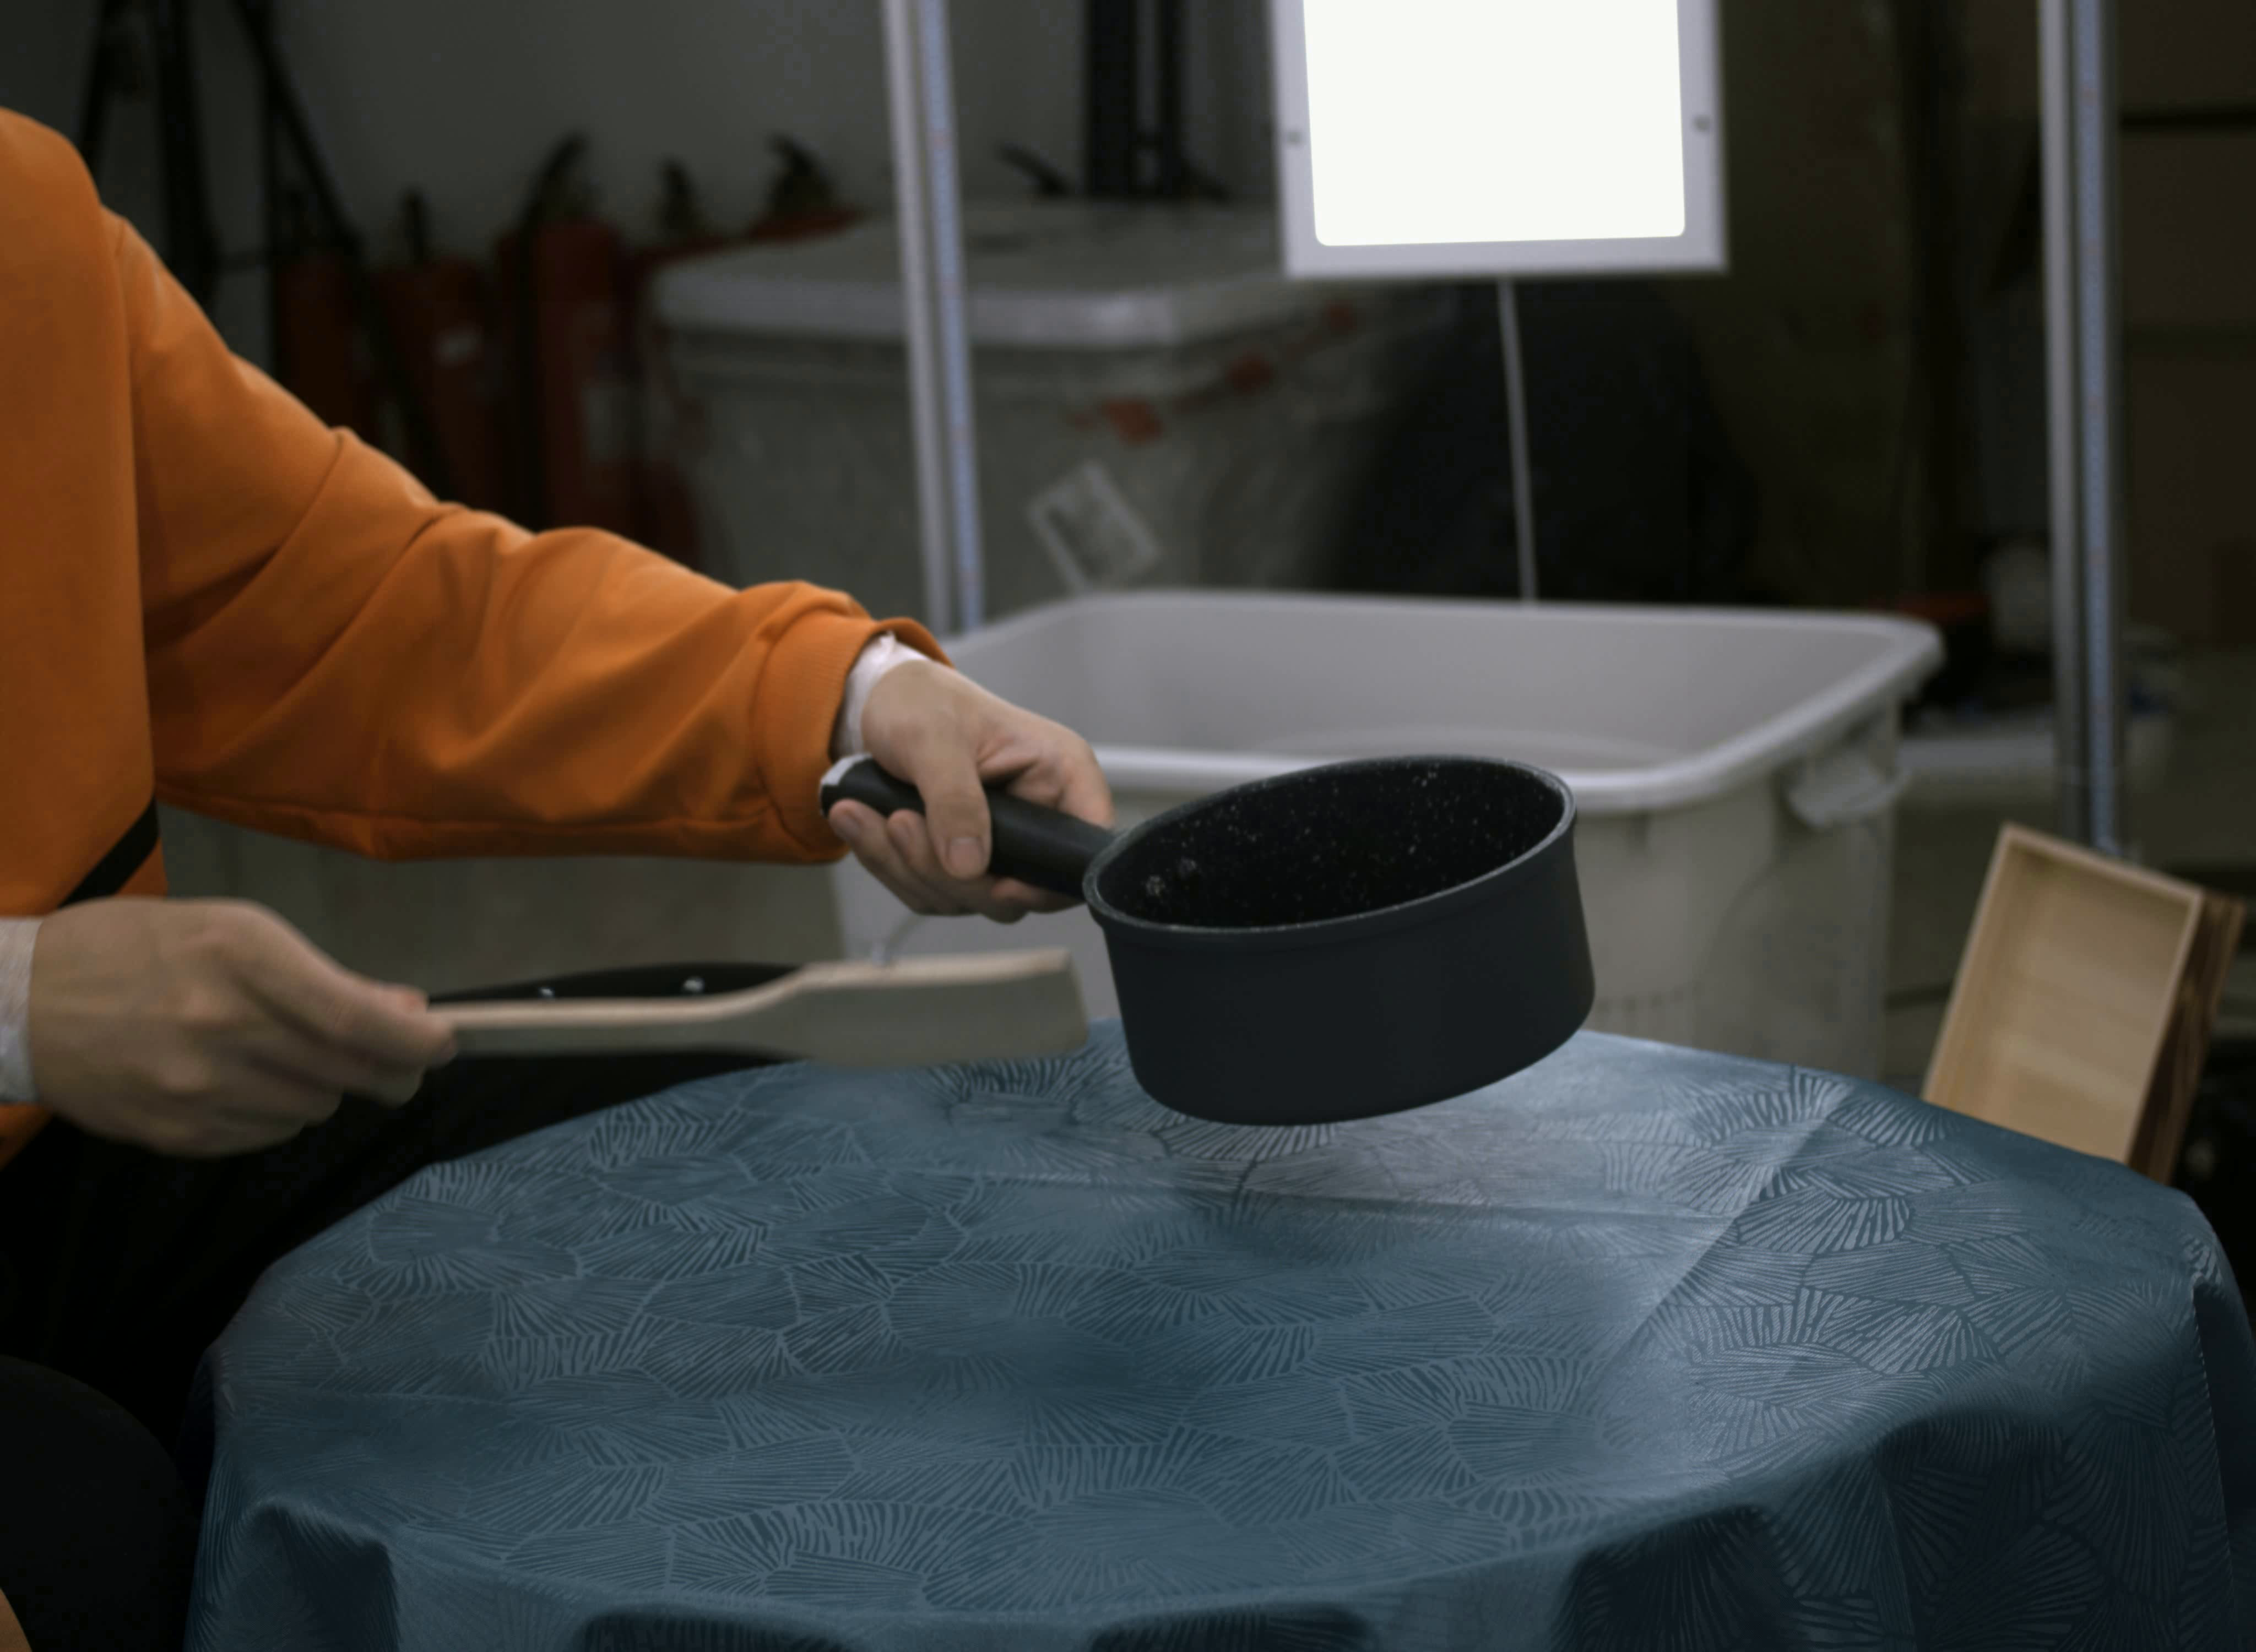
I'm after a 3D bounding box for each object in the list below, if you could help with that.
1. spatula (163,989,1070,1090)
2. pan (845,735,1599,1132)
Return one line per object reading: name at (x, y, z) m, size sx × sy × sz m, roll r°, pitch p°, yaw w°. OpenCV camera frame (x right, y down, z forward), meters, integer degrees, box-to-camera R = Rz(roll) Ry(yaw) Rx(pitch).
spatula at (-0.166, 0.070, 1.767) m, size 0.294 × 0.010 × 0.072 m, roll -2°, pitch -22°, yaw 7°
pan at (0.021, 0.028, 1.946) m, size 0.168 × 0.086 × 0.336 m, roll -26°, pitch 24°, yaw -37°
